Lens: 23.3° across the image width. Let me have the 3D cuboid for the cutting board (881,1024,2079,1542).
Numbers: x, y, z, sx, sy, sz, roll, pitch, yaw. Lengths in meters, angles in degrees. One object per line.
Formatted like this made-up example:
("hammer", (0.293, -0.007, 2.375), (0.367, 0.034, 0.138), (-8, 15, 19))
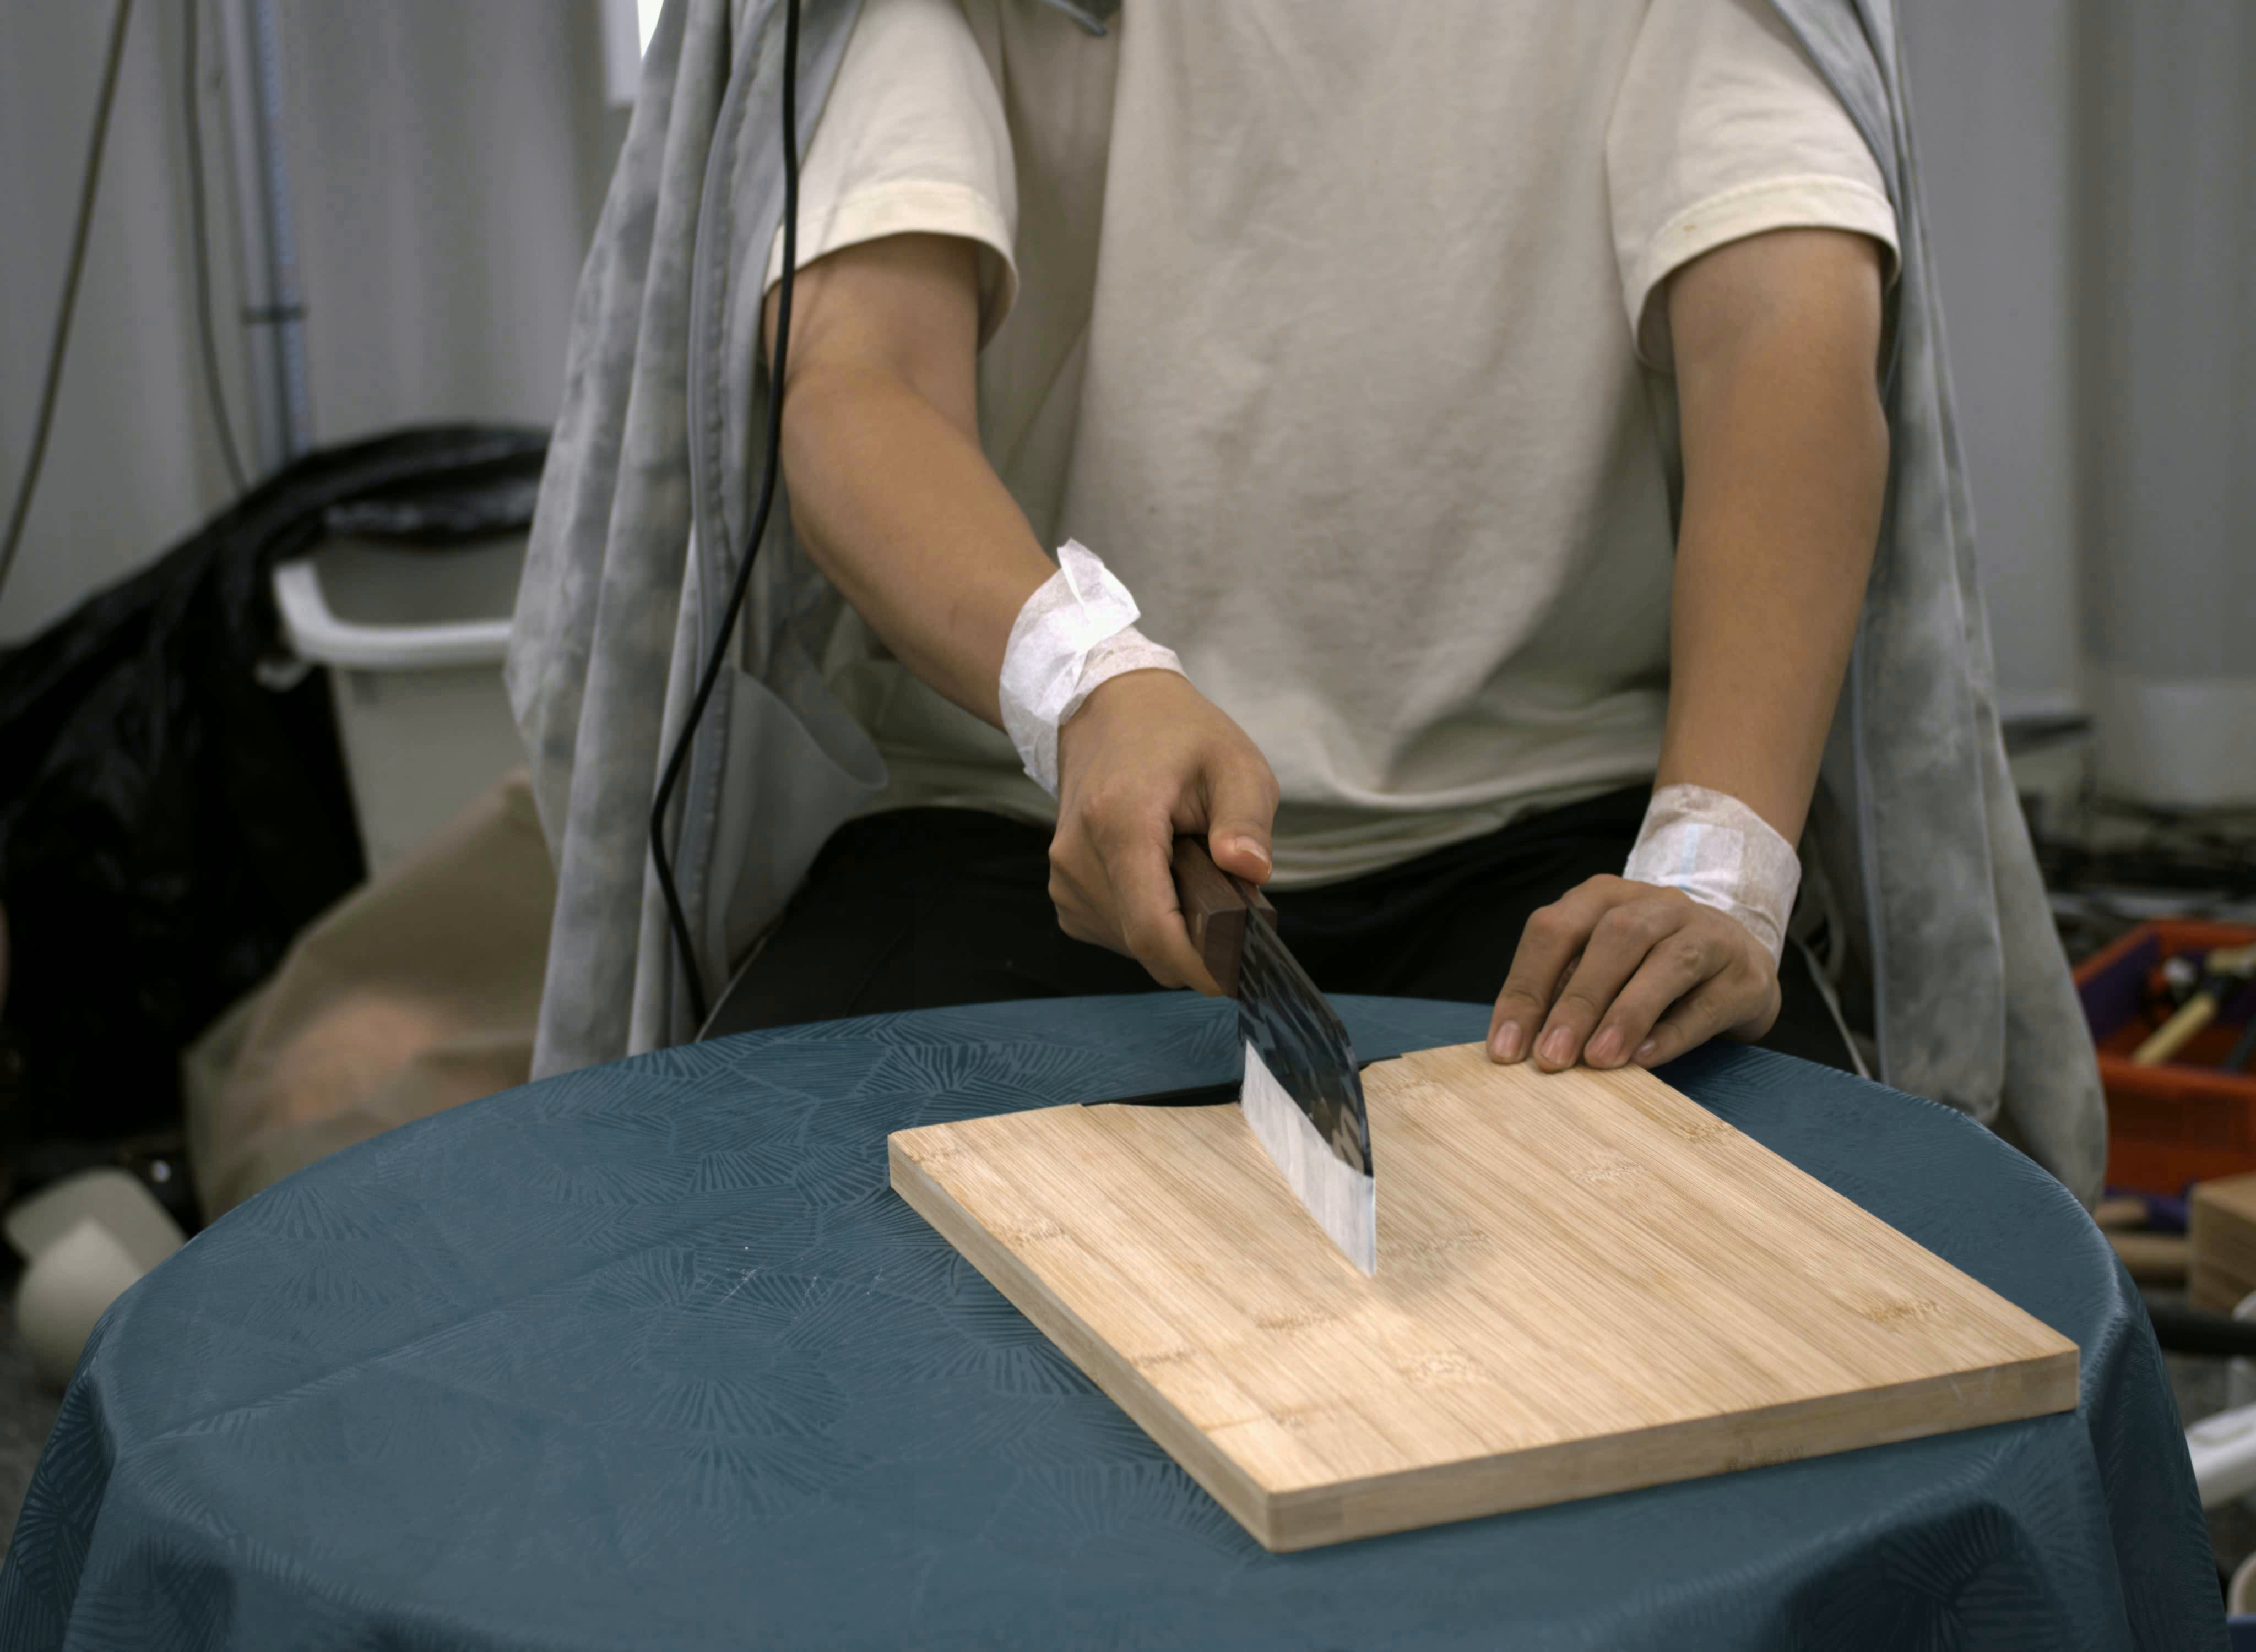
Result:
("cutting board", (0.091, 0.128, 1.620), (0.249, 0.023, 0.351), (-8, 15, -19))

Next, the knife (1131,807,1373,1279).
("knife", (0.040, 0.063, 1.691), (0.024, 0.068, 0.302), (1, 17, -12))
